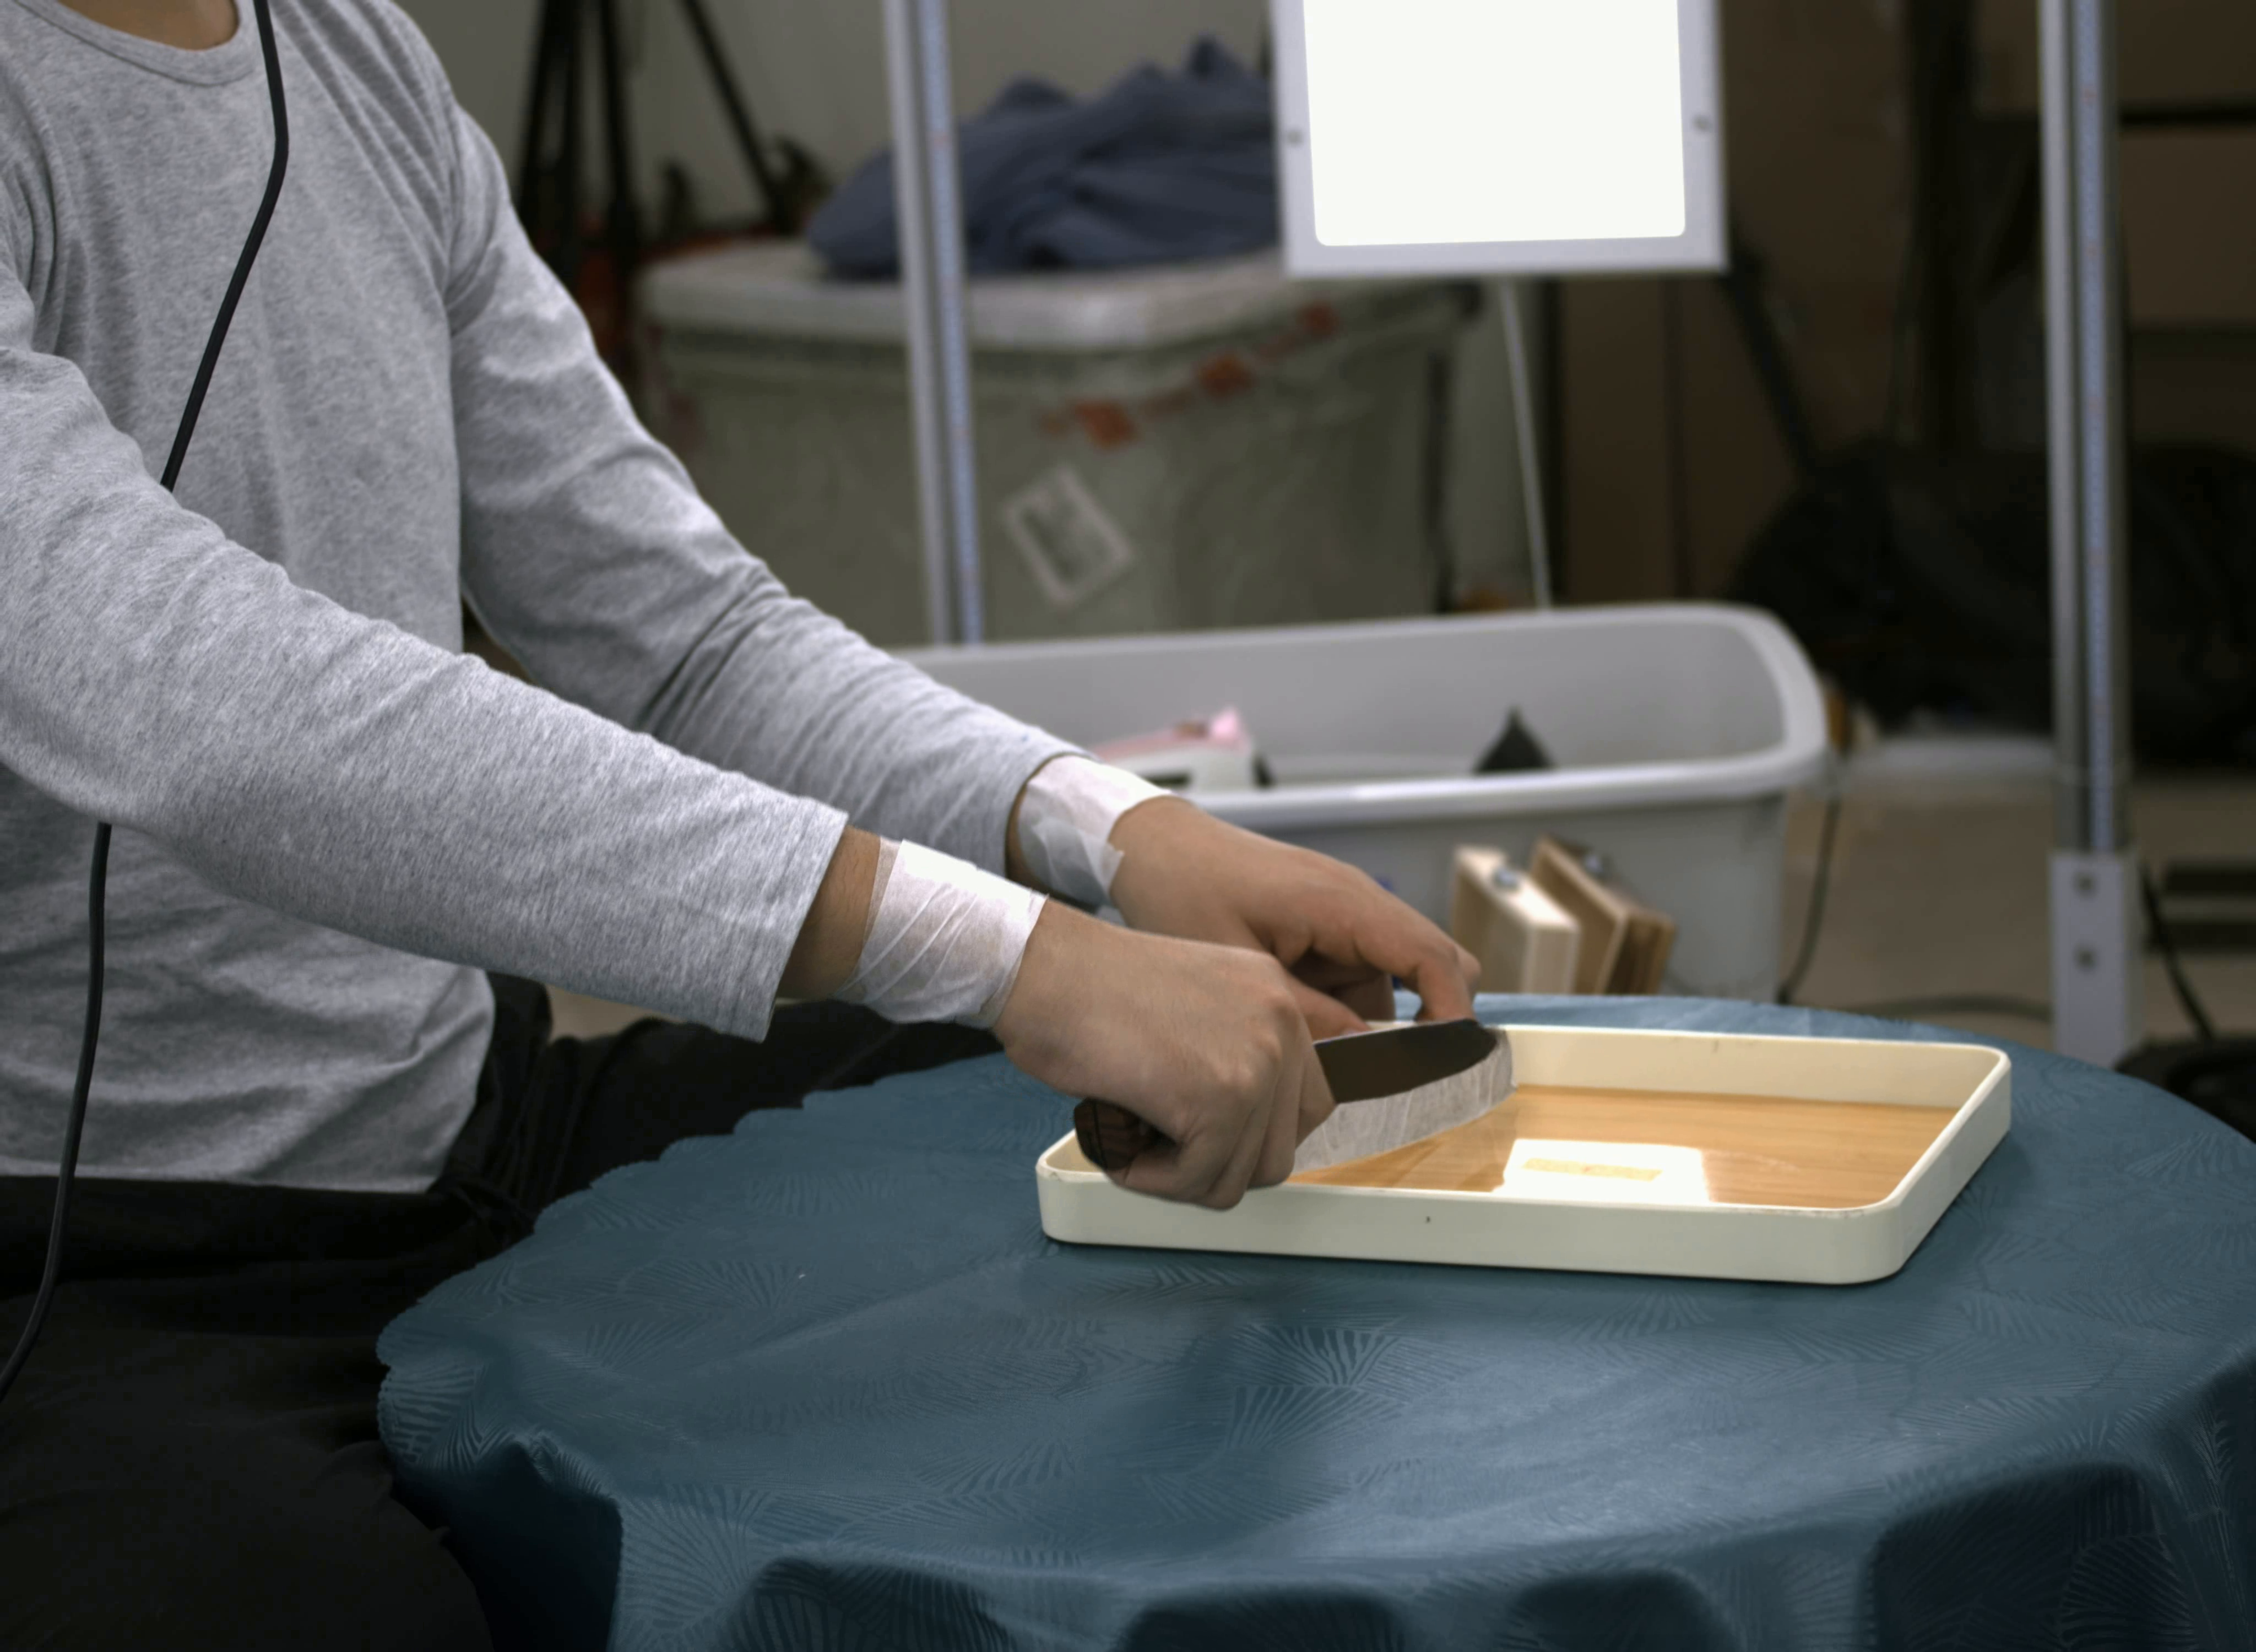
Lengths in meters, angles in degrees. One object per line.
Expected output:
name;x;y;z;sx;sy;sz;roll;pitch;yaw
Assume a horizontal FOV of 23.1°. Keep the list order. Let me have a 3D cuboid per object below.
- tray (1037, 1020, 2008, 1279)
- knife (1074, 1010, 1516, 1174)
tray;0.138;0.108;1.872;0.305;0.027;0.188;1;15;25
knife;0.064;0.091;1.834;0.020;0.050;0.282;10;7;32
